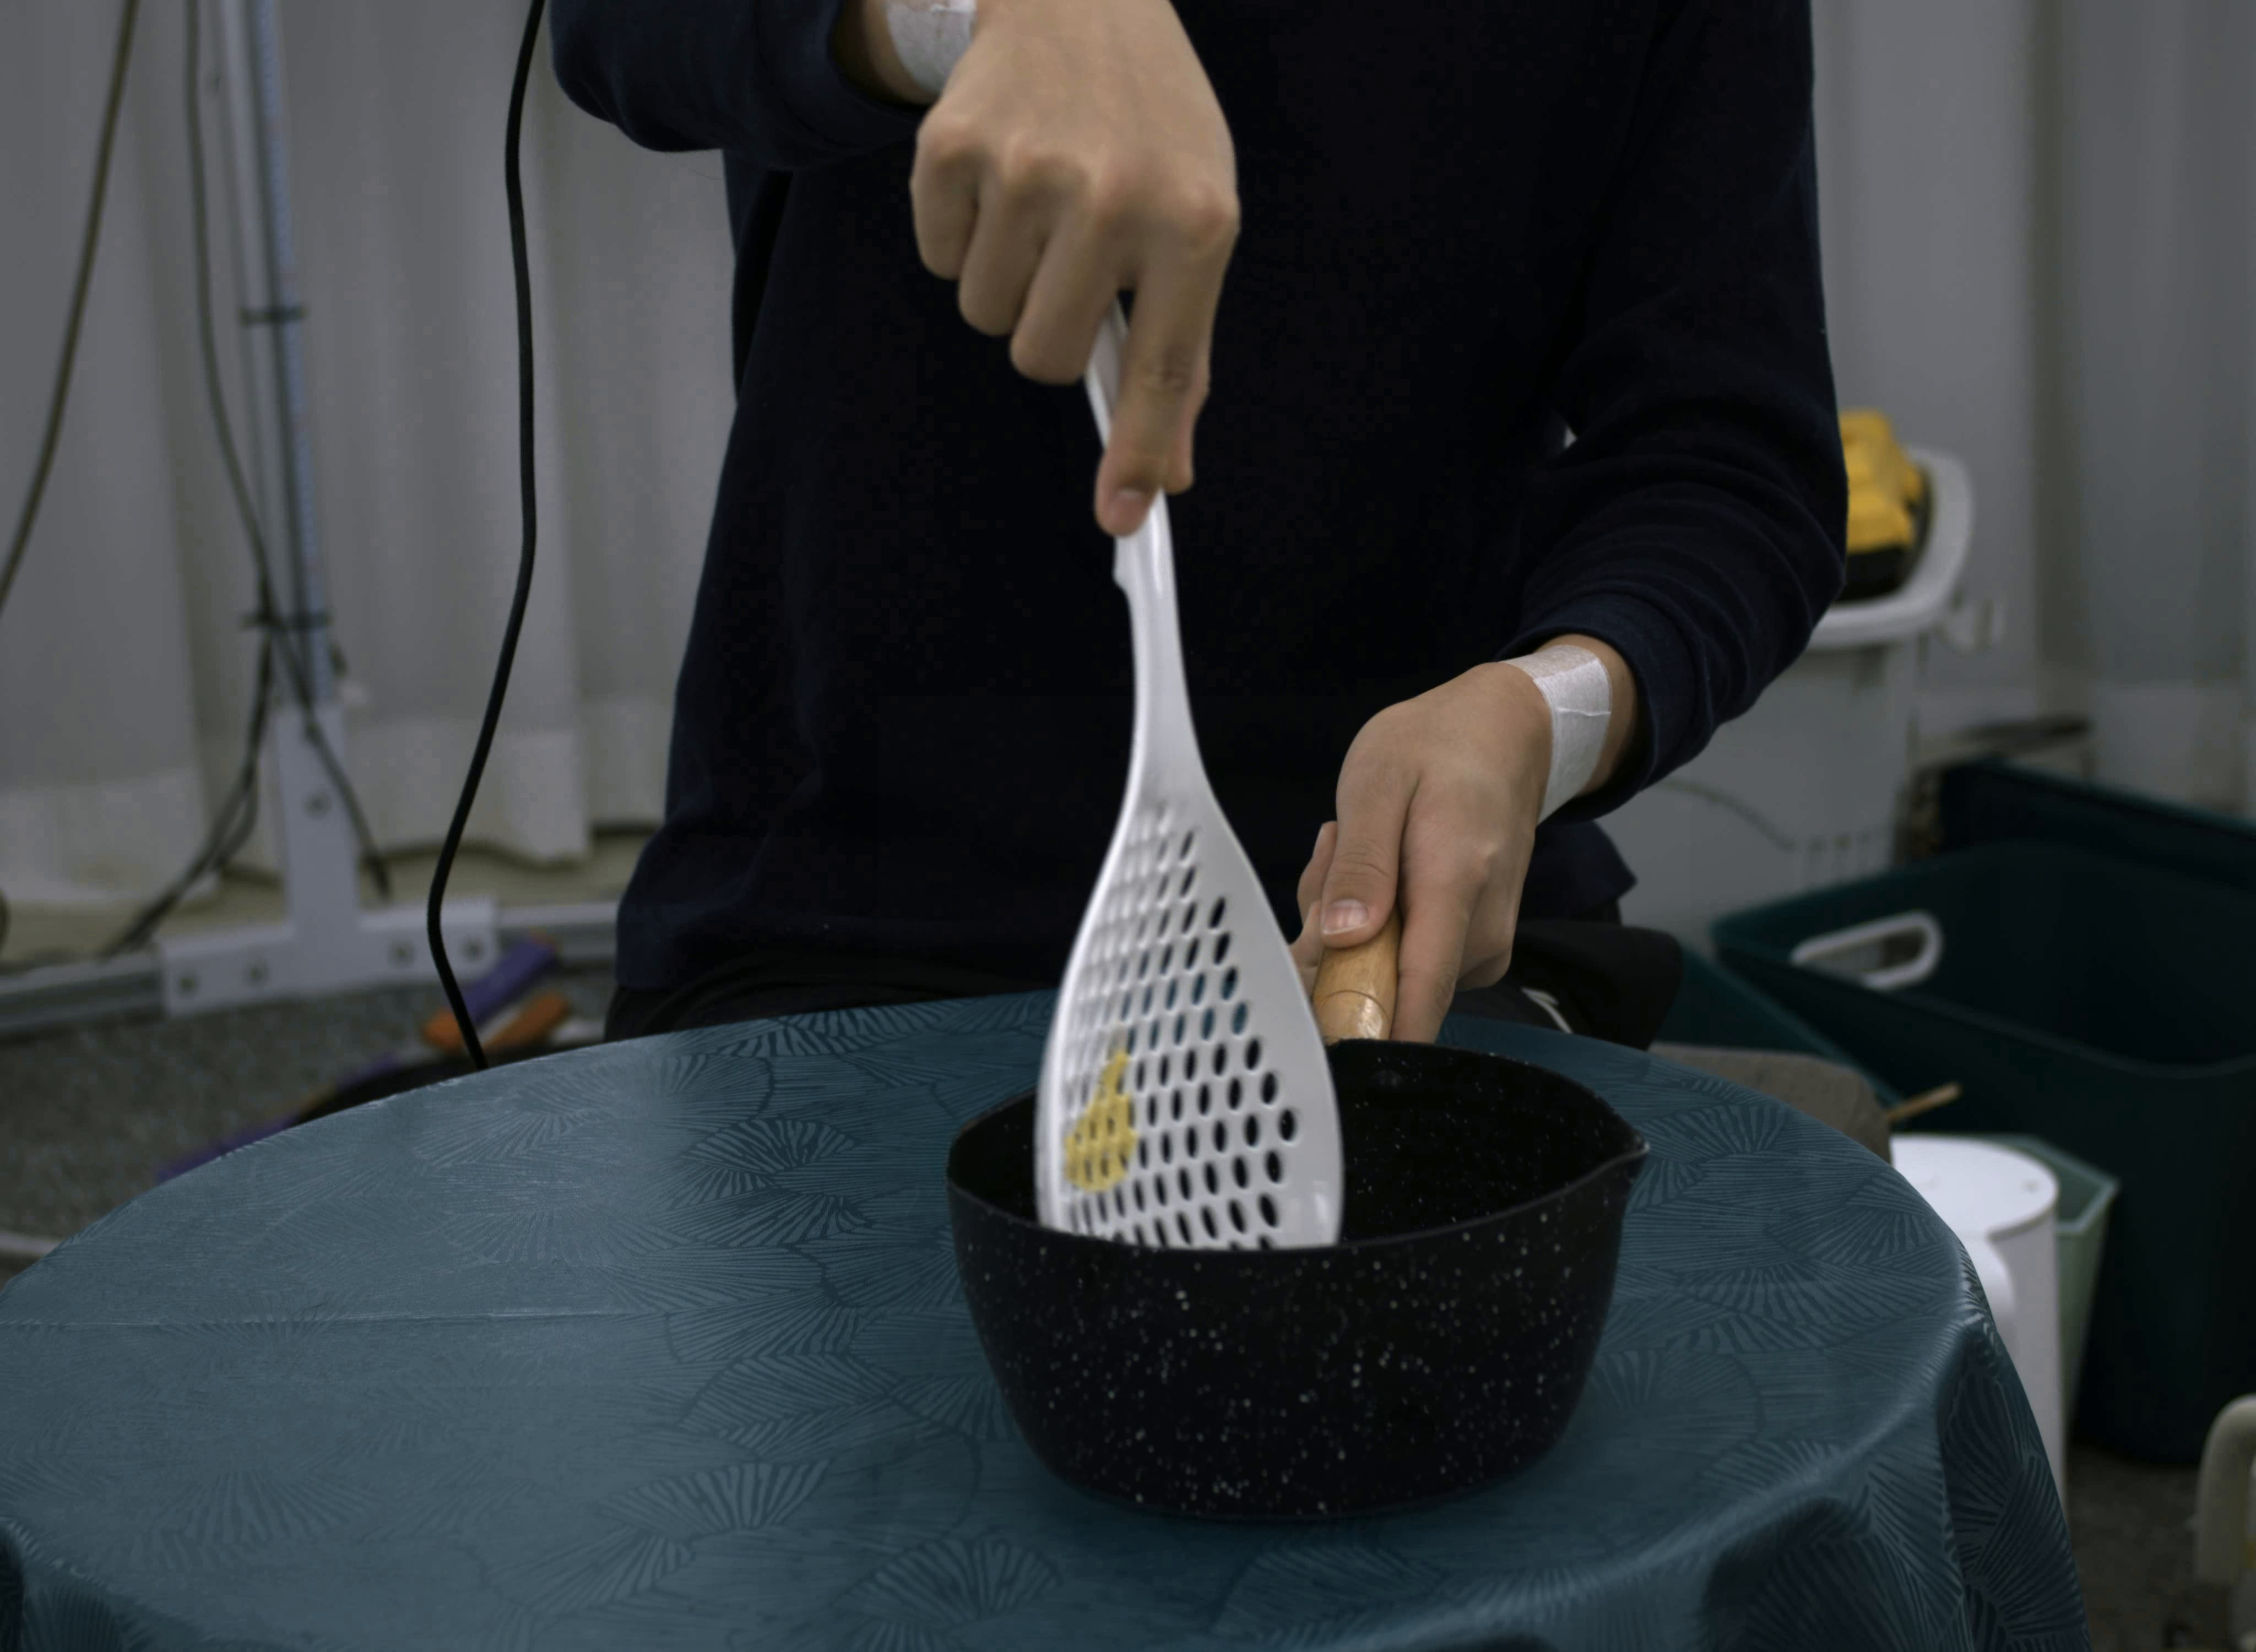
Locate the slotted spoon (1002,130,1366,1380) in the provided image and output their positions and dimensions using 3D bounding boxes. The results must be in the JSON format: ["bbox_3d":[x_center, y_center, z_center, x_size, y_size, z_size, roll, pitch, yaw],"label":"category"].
[{"bbox_3d":[0.003,-0.013,1.475,0.050,0.347,0.136,4,12,36],"label":"slotted spoon"}]

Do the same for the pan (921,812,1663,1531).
[{"bbox_3d":[0.055,0.094,1.576,0.207,0.108,0.345,-2,16,9],"label":"pan"}]
